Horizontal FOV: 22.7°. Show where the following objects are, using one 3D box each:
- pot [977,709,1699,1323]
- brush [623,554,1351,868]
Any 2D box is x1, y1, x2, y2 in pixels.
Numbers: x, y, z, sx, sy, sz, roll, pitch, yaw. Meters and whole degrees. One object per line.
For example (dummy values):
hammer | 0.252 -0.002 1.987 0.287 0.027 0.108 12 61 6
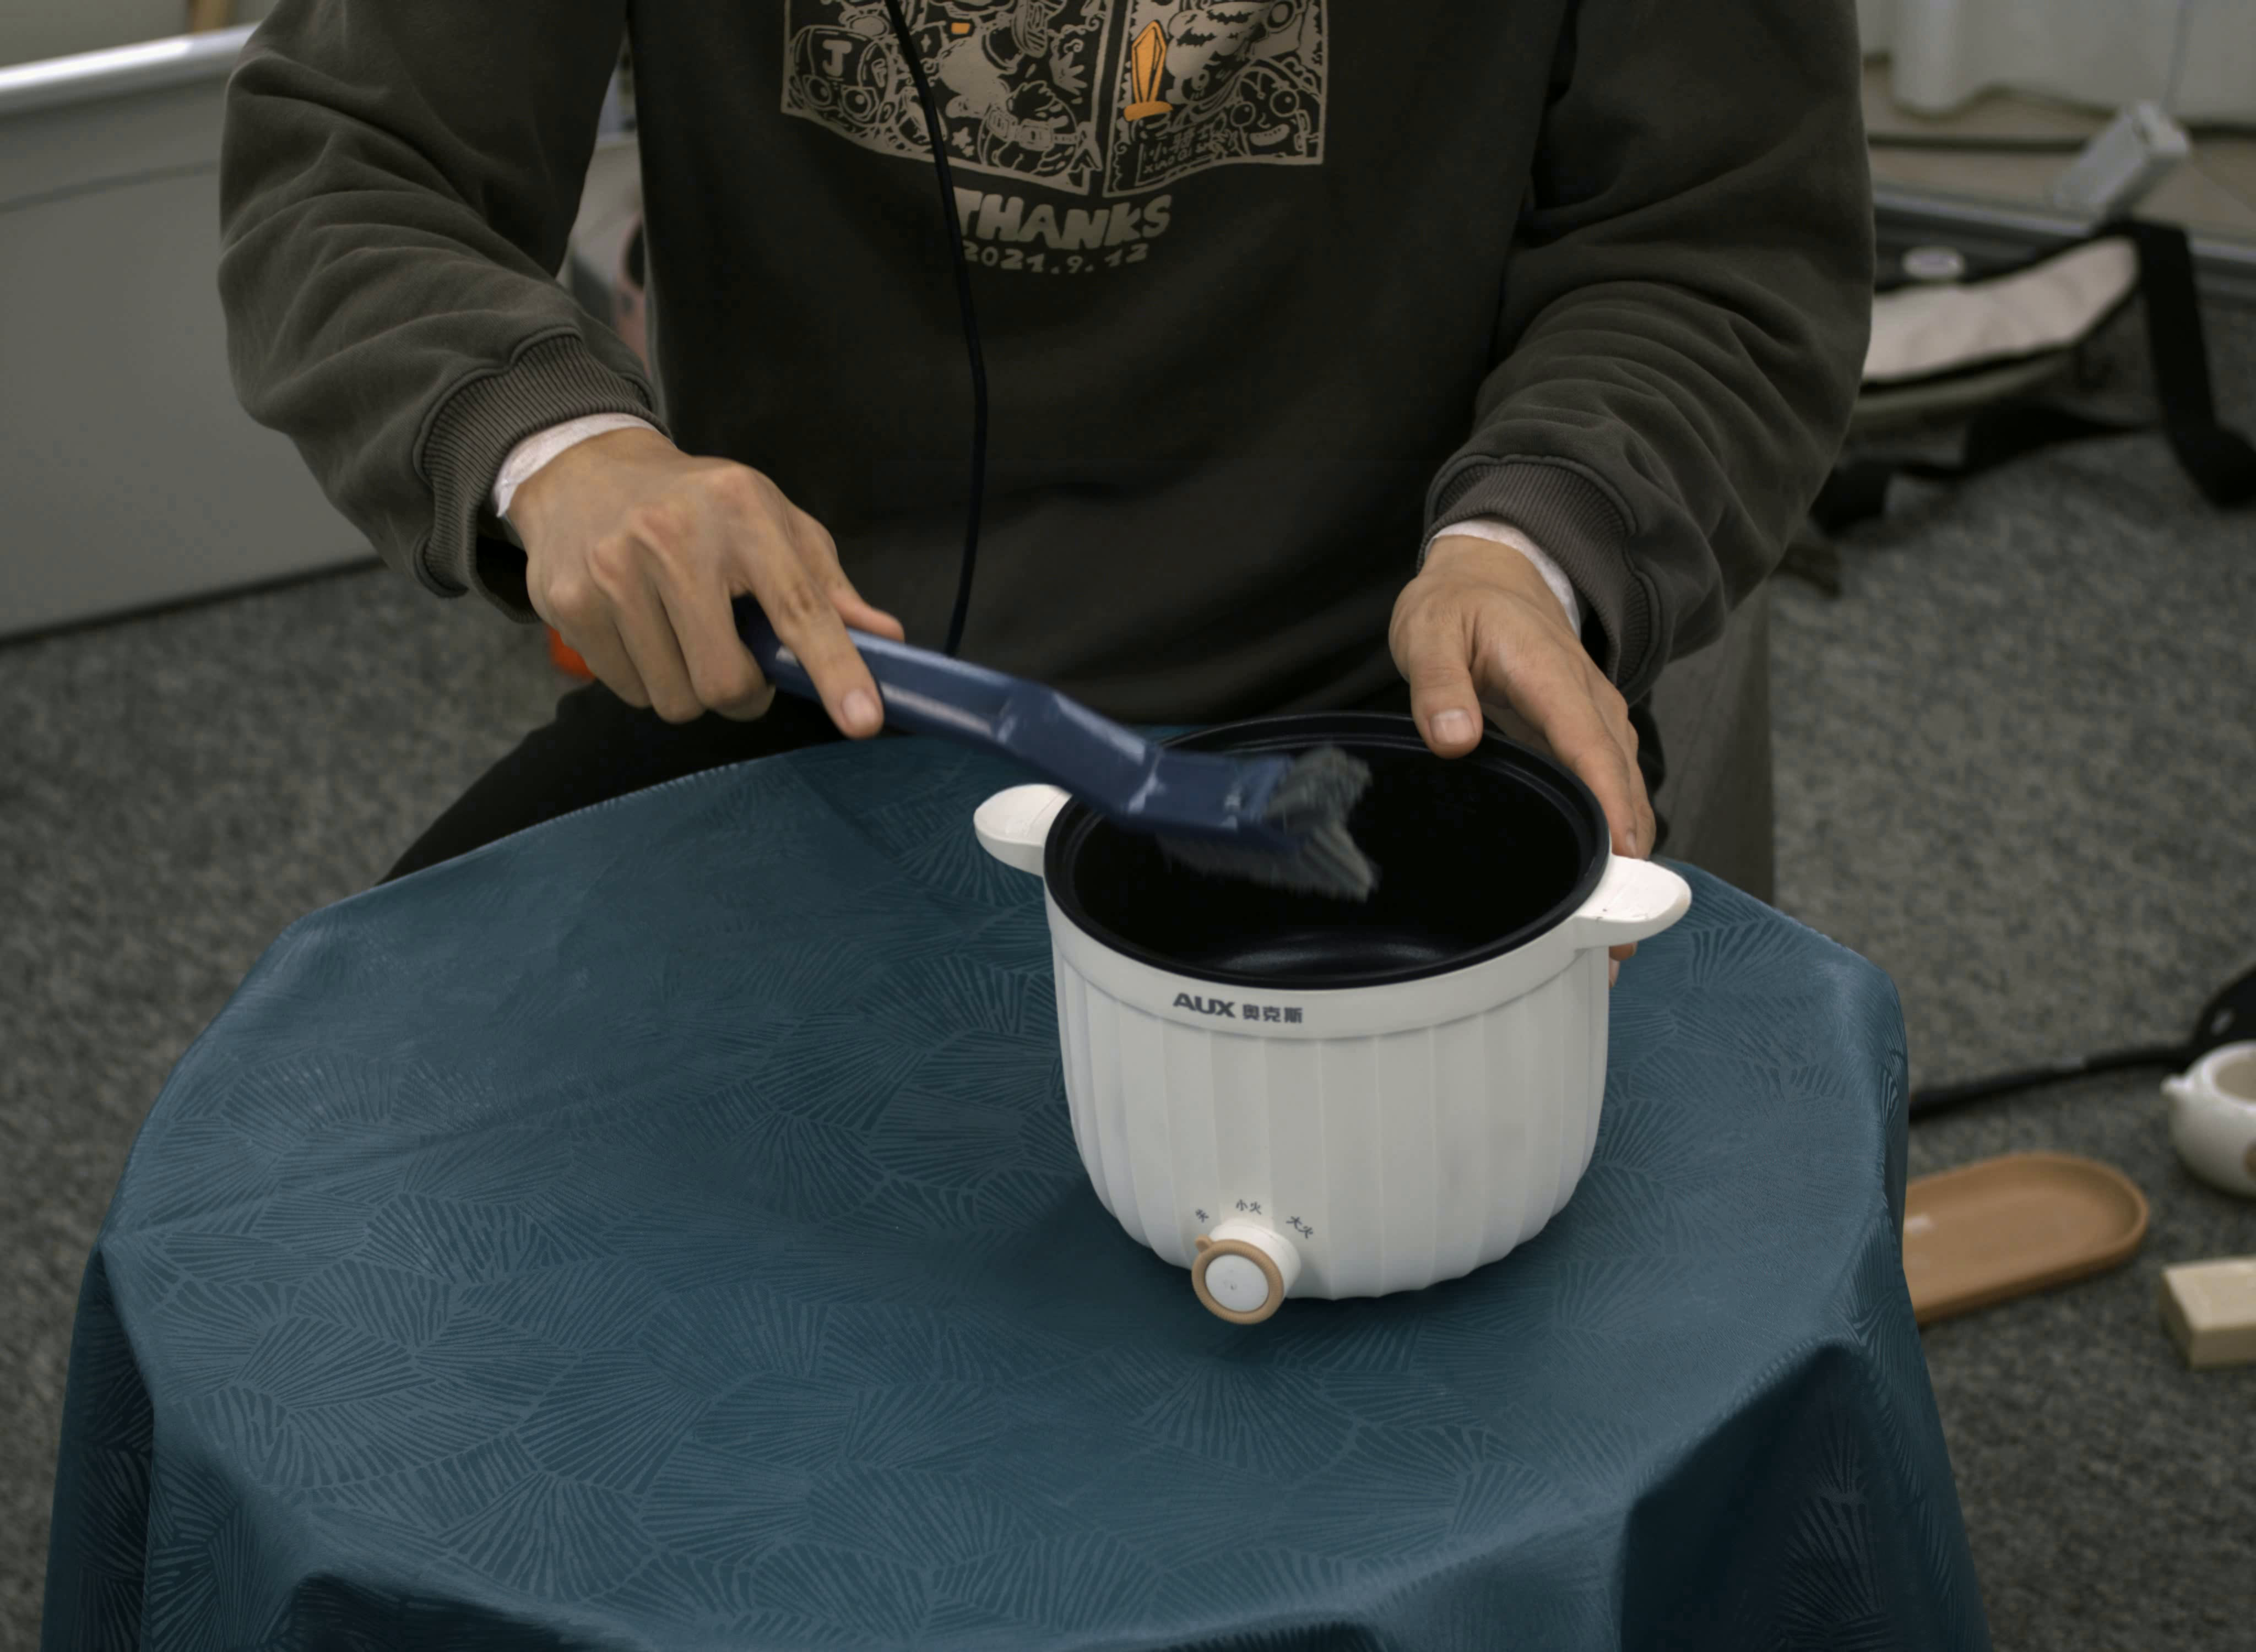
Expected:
pot | 0.067 0.065 1.814 0.238 0.141 0.193 6 25 19
brush | -0.049 -0.044 1.740 0.272 0.094 0.034 21 68 24
